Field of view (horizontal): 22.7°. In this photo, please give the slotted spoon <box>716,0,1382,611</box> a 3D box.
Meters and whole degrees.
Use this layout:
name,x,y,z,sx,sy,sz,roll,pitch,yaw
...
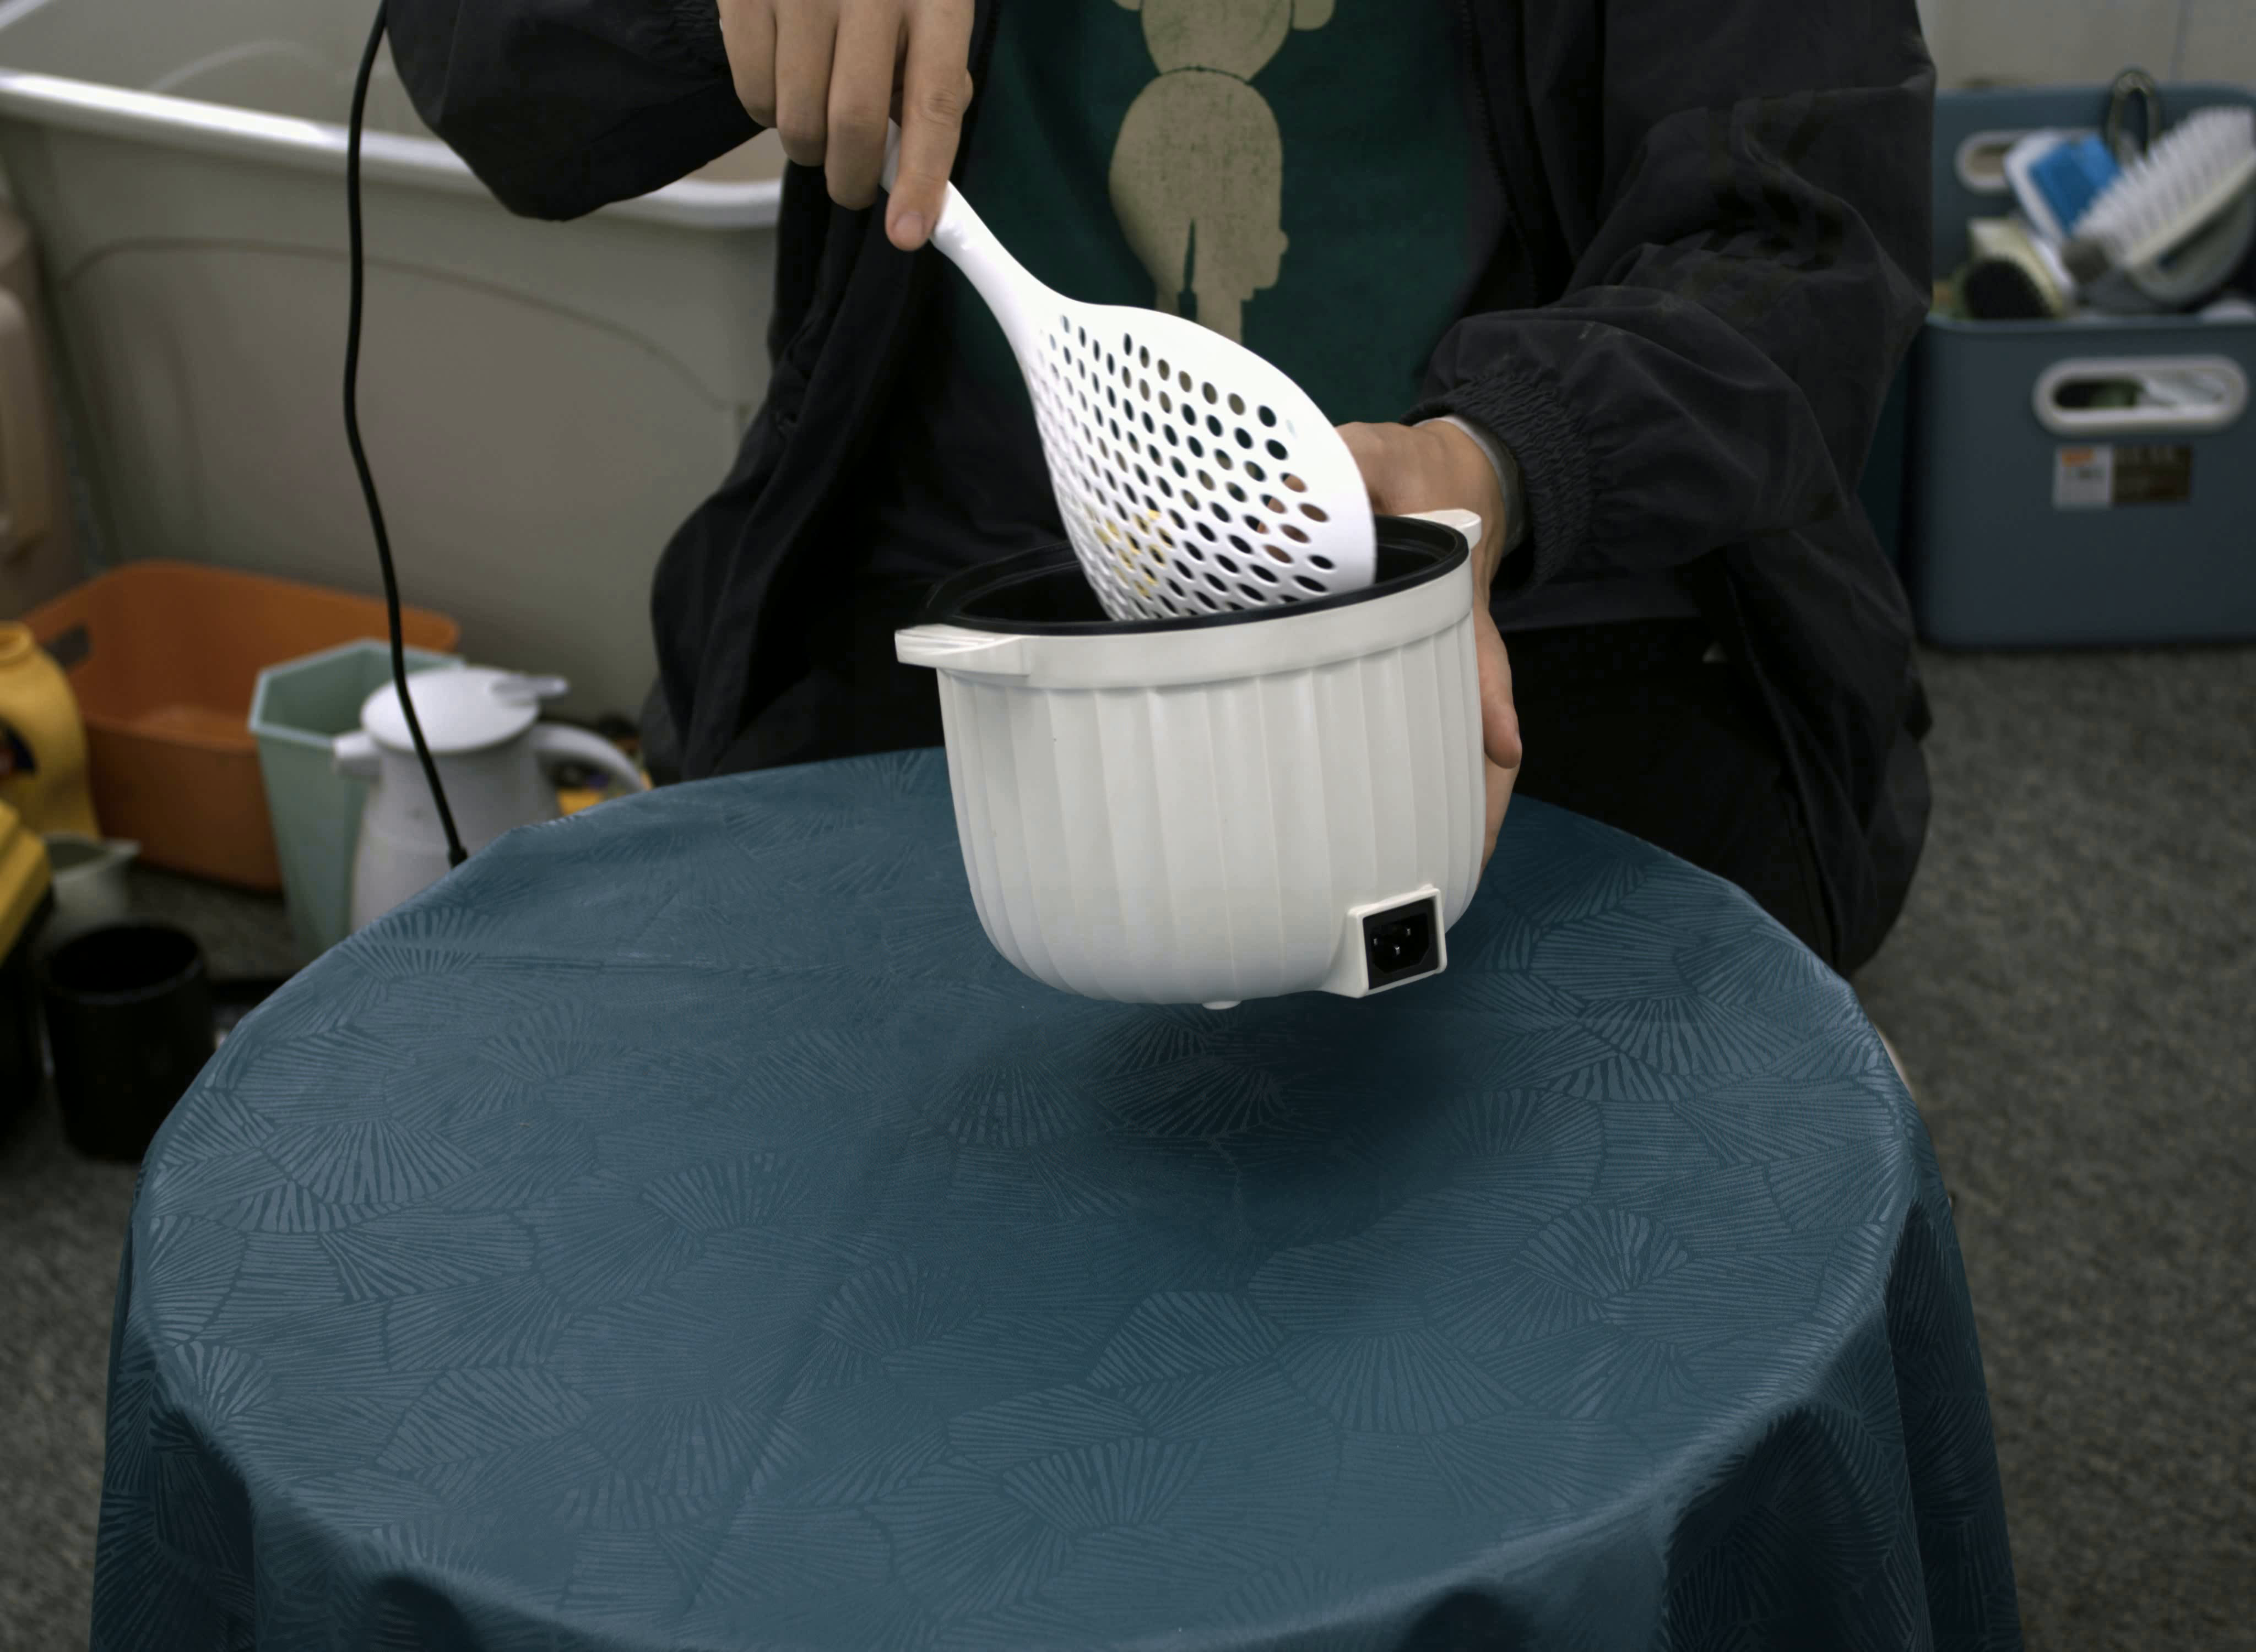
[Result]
name,x,y,z,sx,sy,sz,roll,pitch,yaw
slotted spoon,-0.036,-0.168,1.902,0.050,0.134,0.351,-12,52,-36

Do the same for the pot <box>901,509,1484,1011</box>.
name,x,y,z,sx,sy,sz,roll,pitch,yaw
pot,0.025,-0.022,1.873,0.242,0.142,0.189,-14,18,-38
